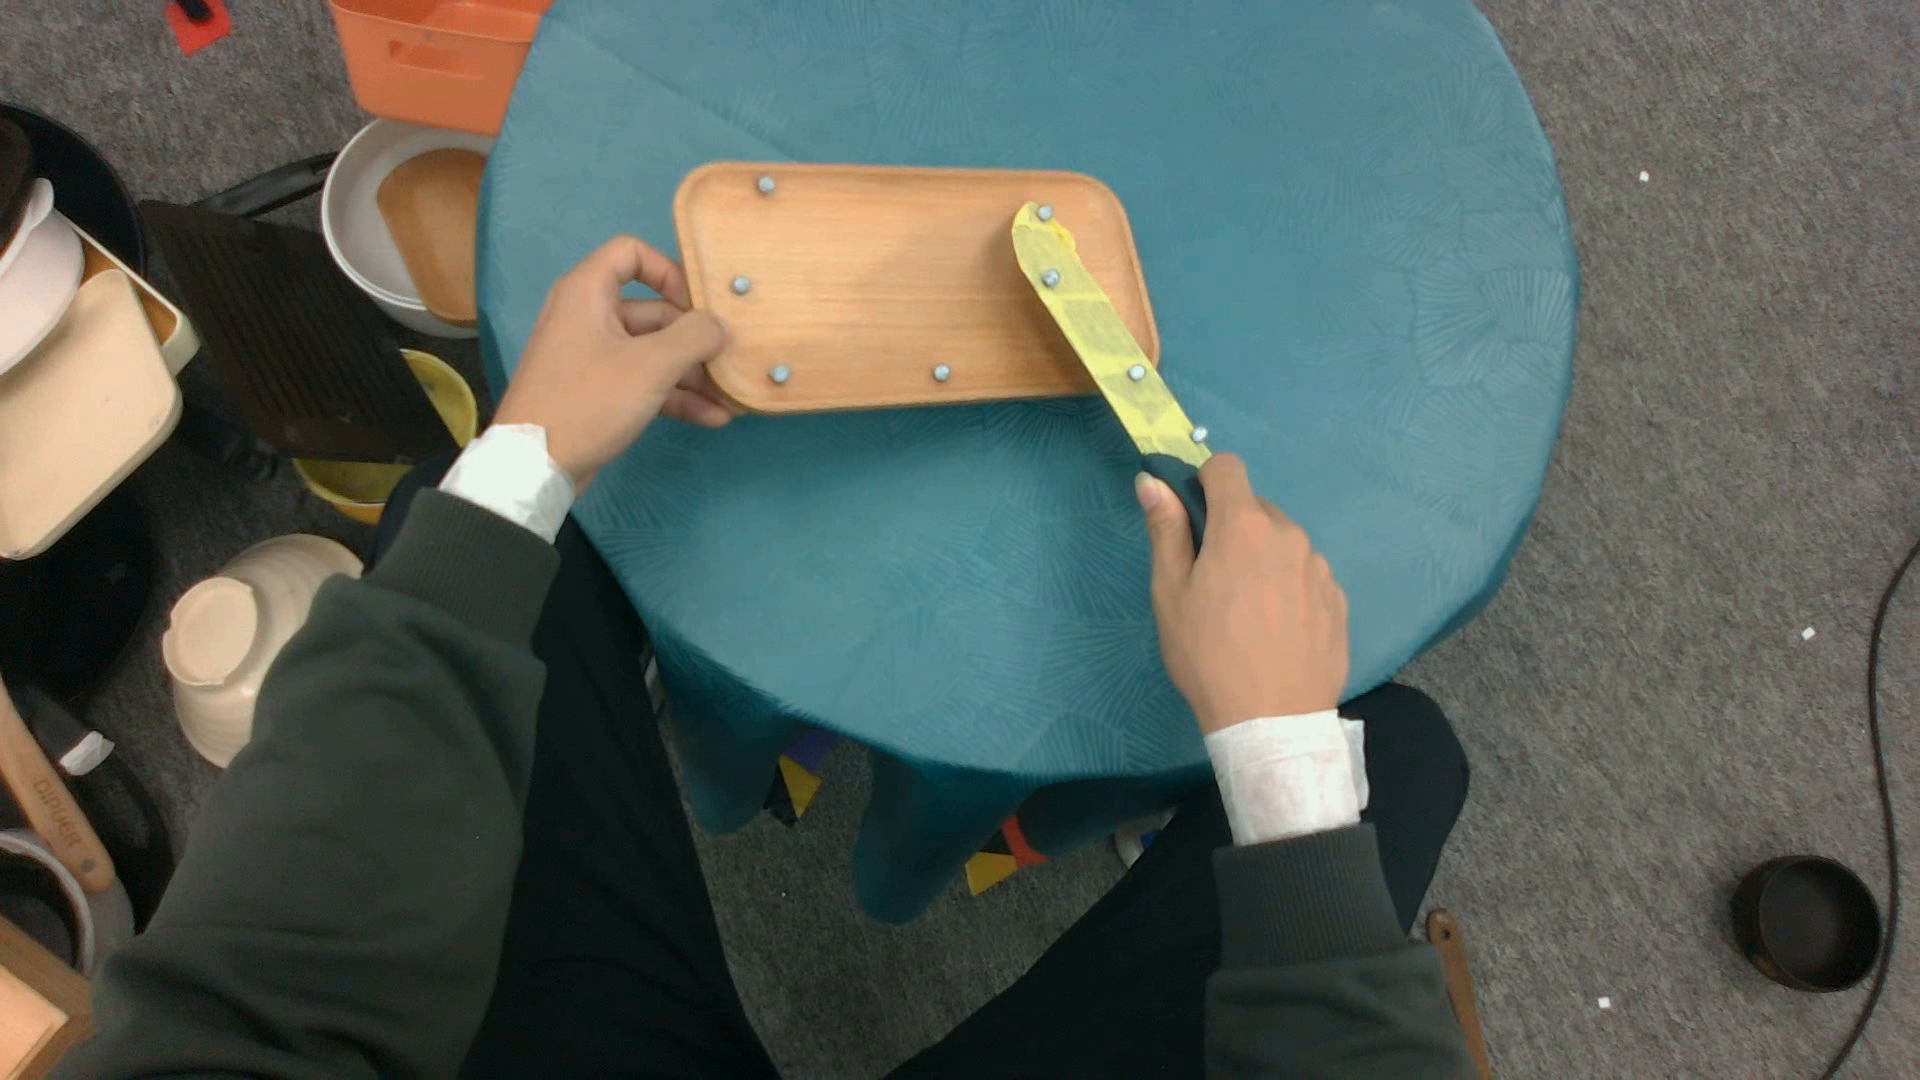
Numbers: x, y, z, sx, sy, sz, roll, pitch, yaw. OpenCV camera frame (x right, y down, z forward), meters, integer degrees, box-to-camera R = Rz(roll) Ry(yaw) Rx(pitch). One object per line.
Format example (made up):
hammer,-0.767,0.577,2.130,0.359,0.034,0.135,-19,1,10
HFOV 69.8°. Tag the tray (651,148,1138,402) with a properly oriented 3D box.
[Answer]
tray,-0.026,-0.135,0.692,0.251,0.023,0.131,-7,78,-29

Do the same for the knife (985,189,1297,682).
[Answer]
knife,0.088,-0.060,0.686,0.081,0.027,0.290,-11,69,-55
